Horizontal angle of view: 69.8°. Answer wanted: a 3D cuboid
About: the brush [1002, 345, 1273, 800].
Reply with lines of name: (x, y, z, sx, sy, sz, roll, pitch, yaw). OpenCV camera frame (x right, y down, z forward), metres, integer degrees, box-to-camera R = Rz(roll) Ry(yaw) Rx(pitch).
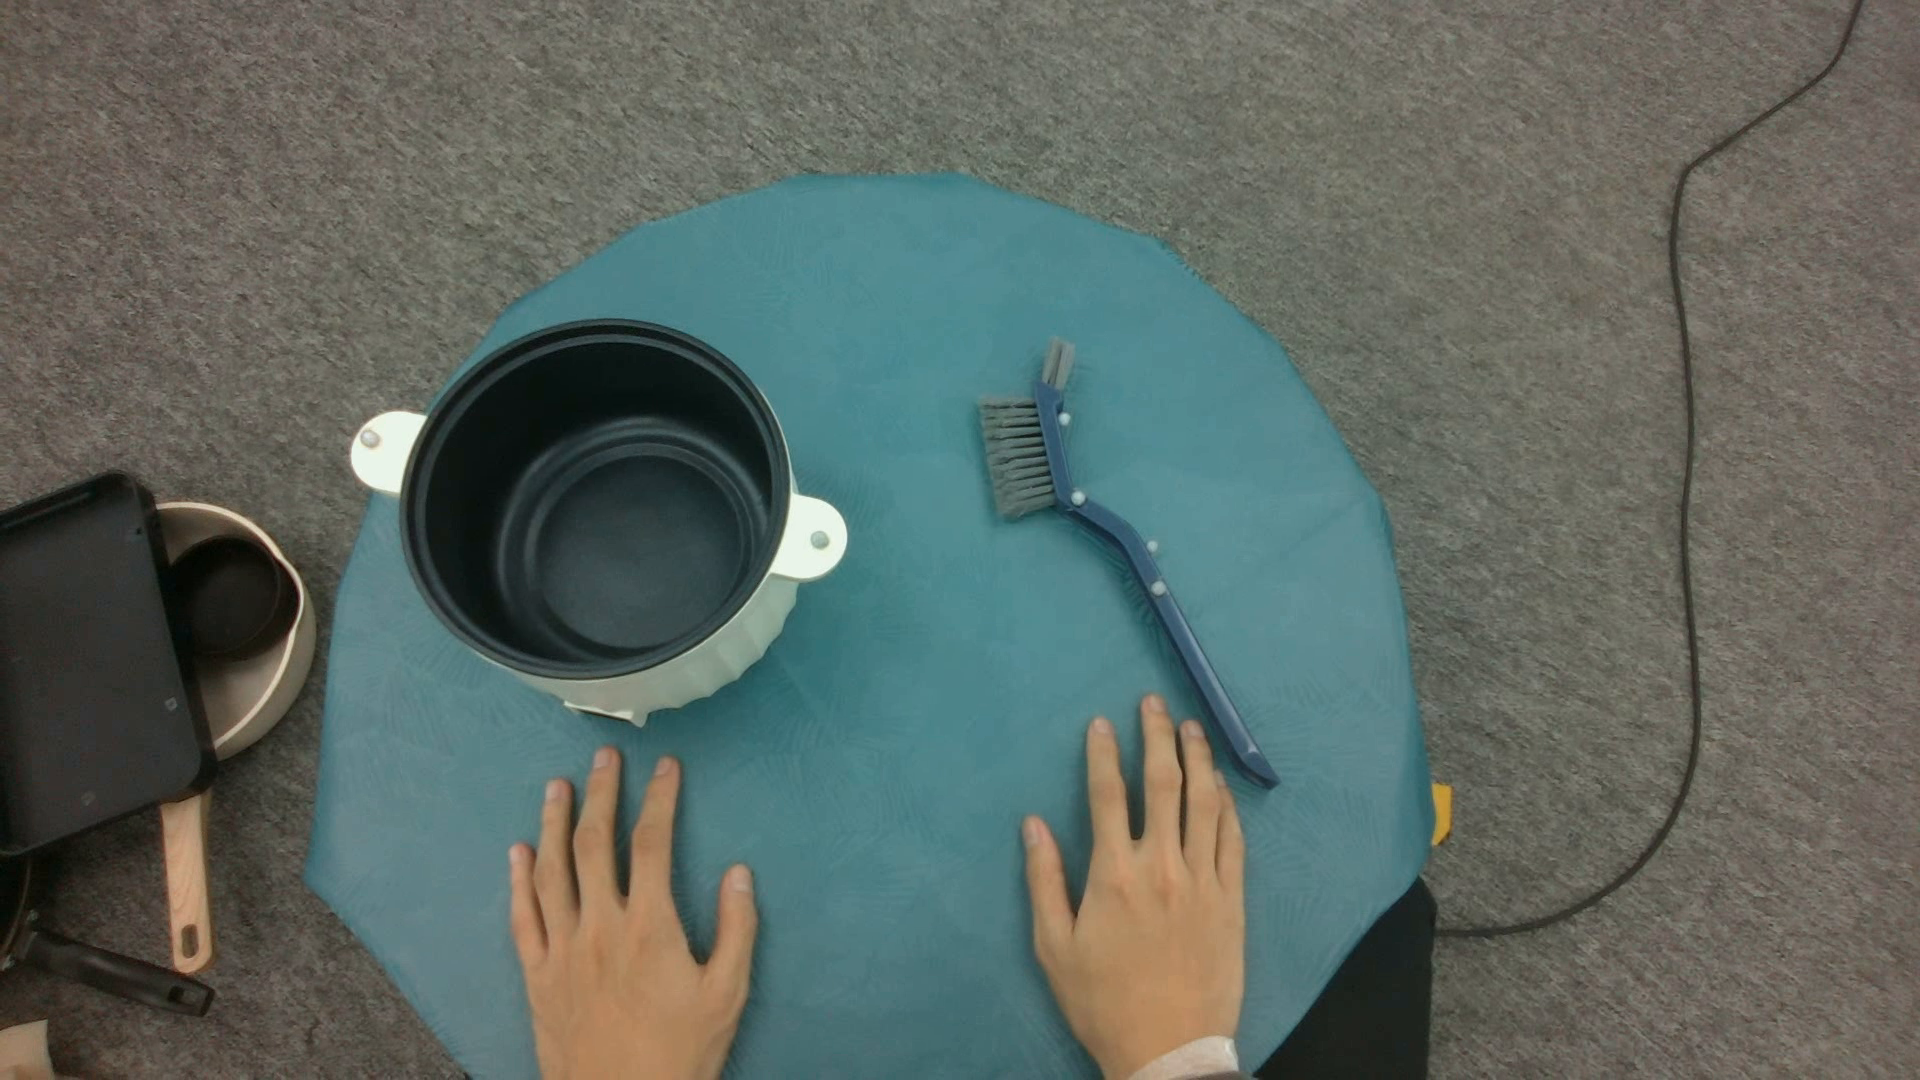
brush: (0.111, 0.014, 0.775, 0.096, 0.033, 0.273, -32, 73, -10)

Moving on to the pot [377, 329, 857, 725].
pot: (-0.166, -0.006, 0.728, 0.240, 0.142, 0.191, 12, 75, 3)
